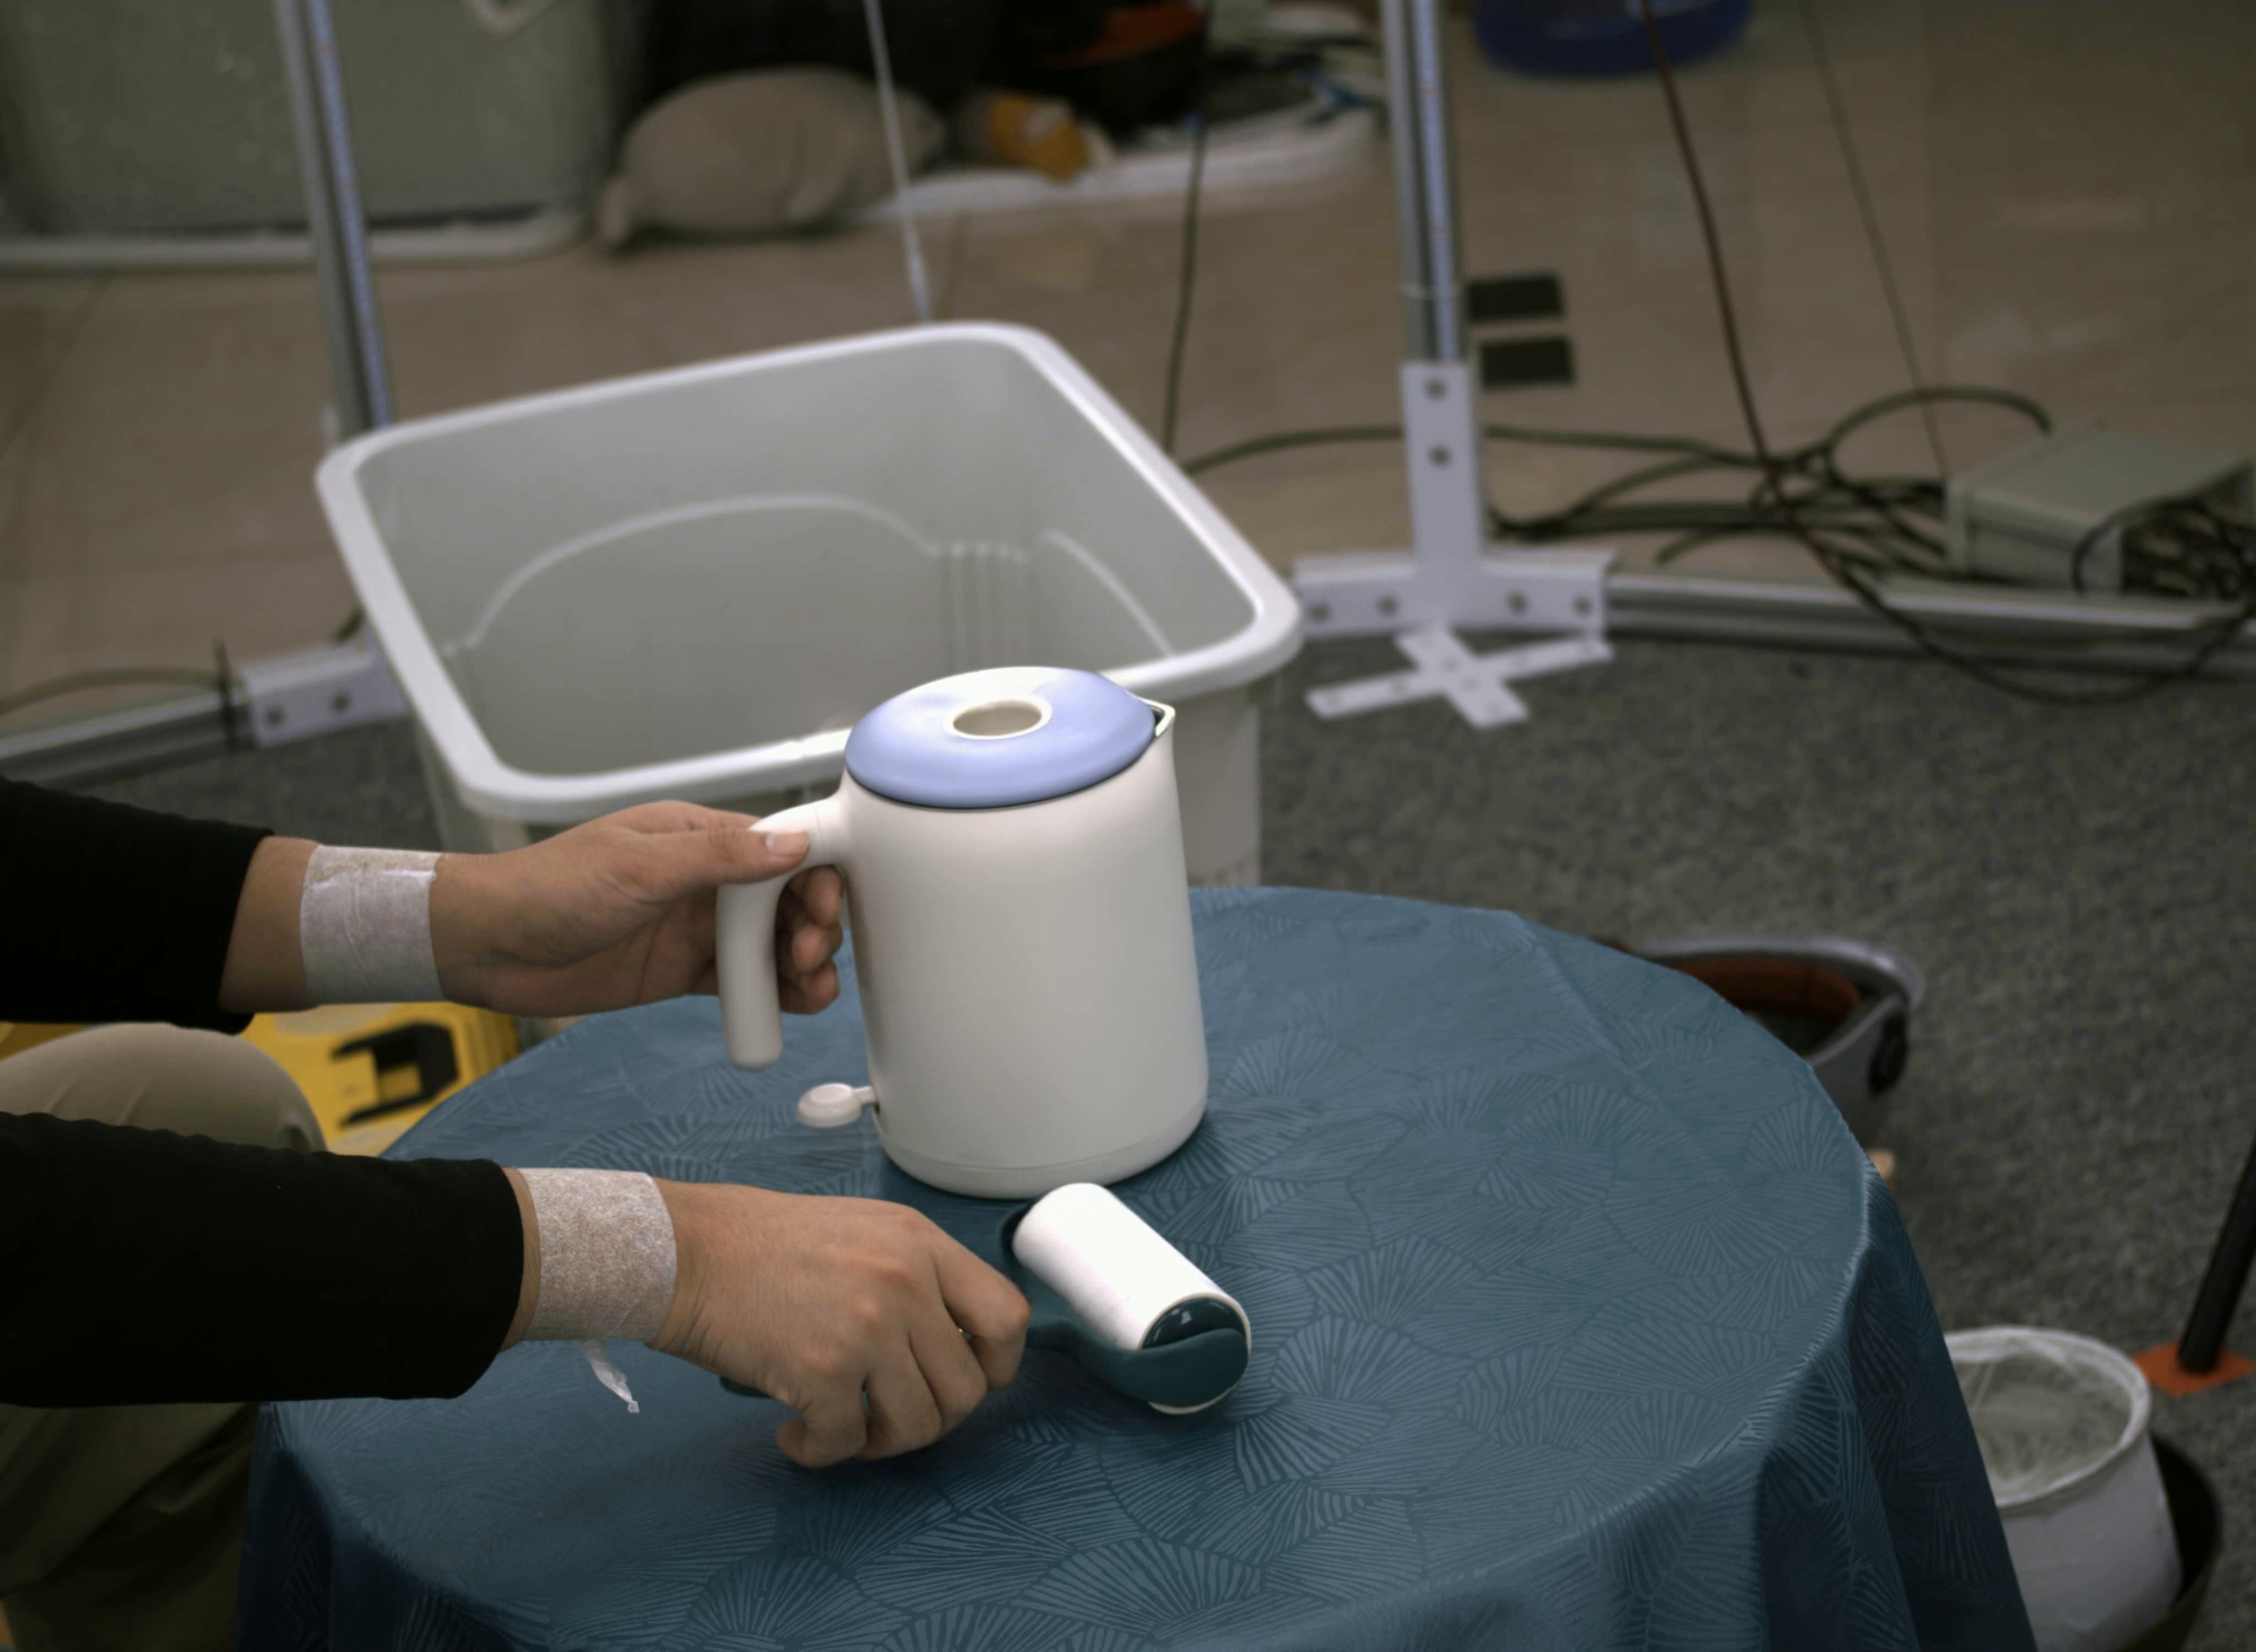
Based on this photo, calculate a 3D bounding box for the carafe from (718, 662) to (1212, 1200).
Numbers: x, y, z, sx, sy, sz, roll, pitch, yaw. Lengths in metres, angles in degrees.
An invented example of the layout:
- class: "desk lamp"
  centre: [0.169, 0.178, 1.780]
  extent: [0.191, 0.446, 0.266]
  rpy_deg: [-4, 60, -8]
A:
- class: "carafe"
  centre: [-0.064, 0.045, 2.159]
  extent: [0.190, 0.185, 0.130]
  rpy_deg: [-14, 26, -10]

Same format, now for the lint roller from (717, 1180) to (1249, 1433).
- class: "lint roller"
  centre: [-0.060, 0.176, 1.999]
  extent: [0.179, 0.049, 0.133]
  rpy_deg: [-7, 23, -23]
